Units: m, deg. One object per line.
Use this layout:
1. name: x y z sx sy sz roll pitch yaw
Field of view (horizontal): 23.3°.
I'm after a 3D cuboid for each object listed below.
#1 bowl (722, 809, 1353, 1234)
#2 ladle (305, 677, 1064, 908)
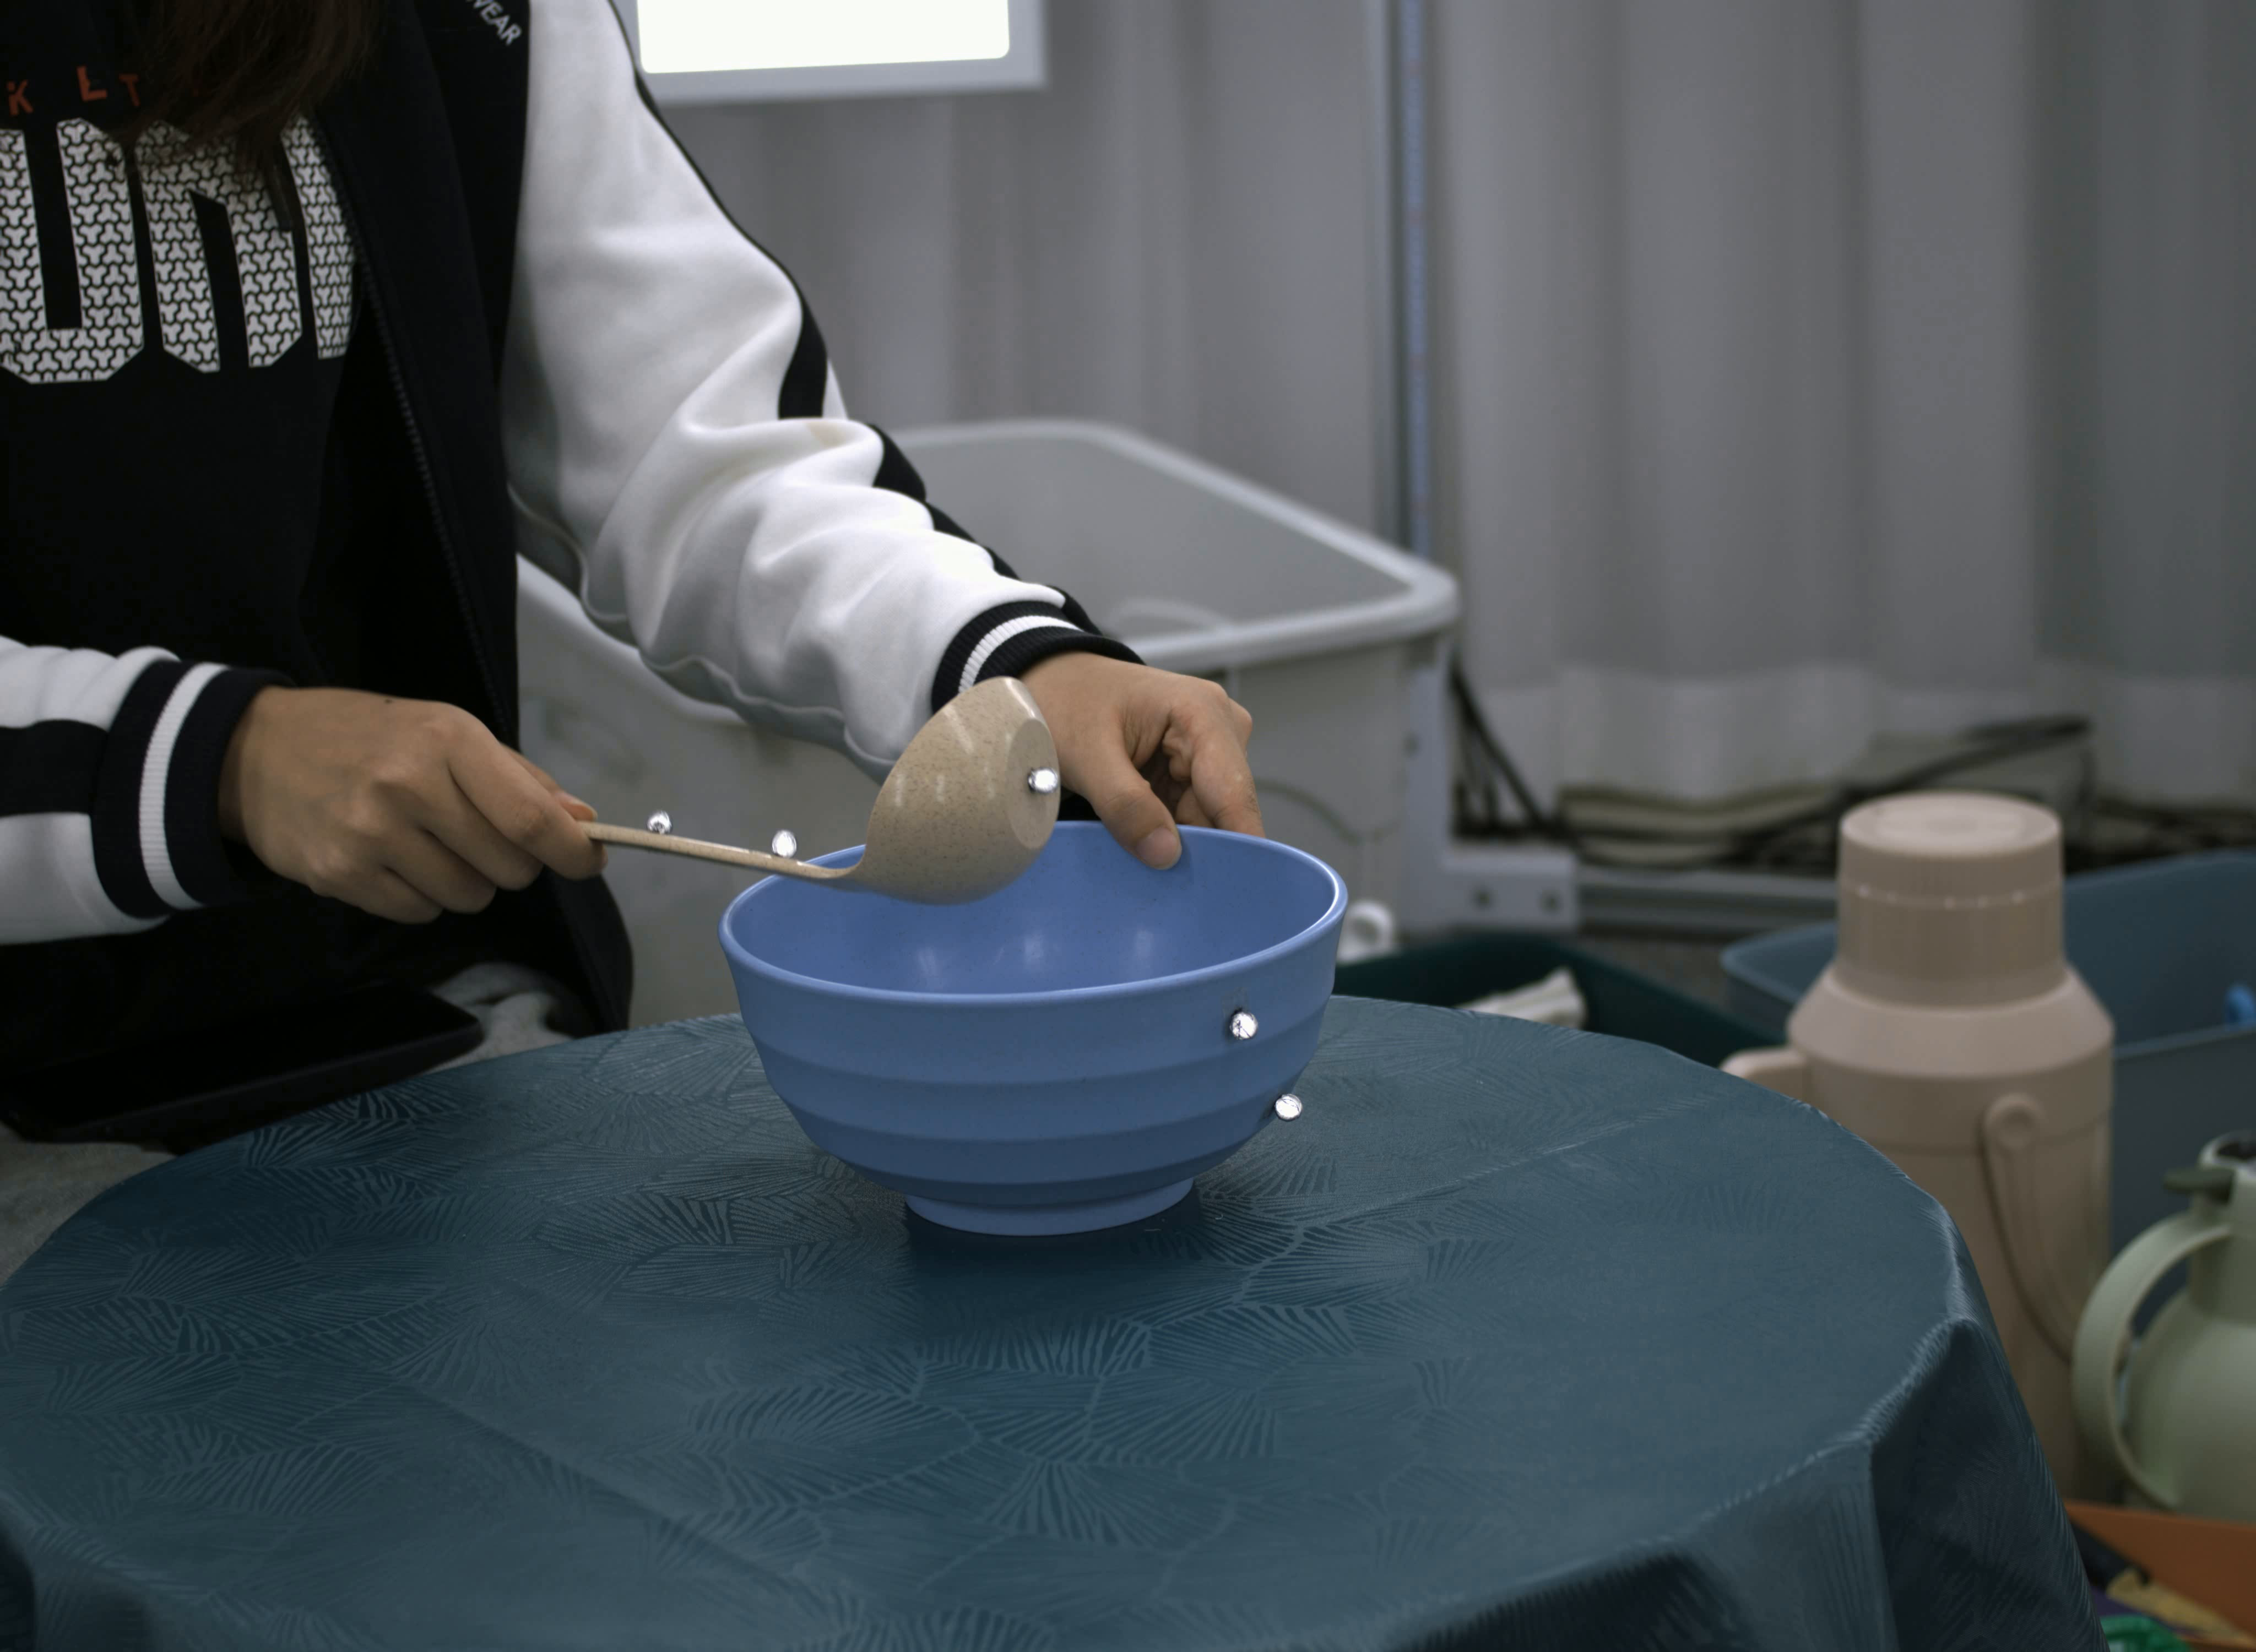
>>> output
1. bowl: -0.028 0.067 1.710 0.196 0.095 0.198 0 16 0
2. ladle: -0.141 -0.019 1.716 0.255 0.073 0.071 6 -13 24
